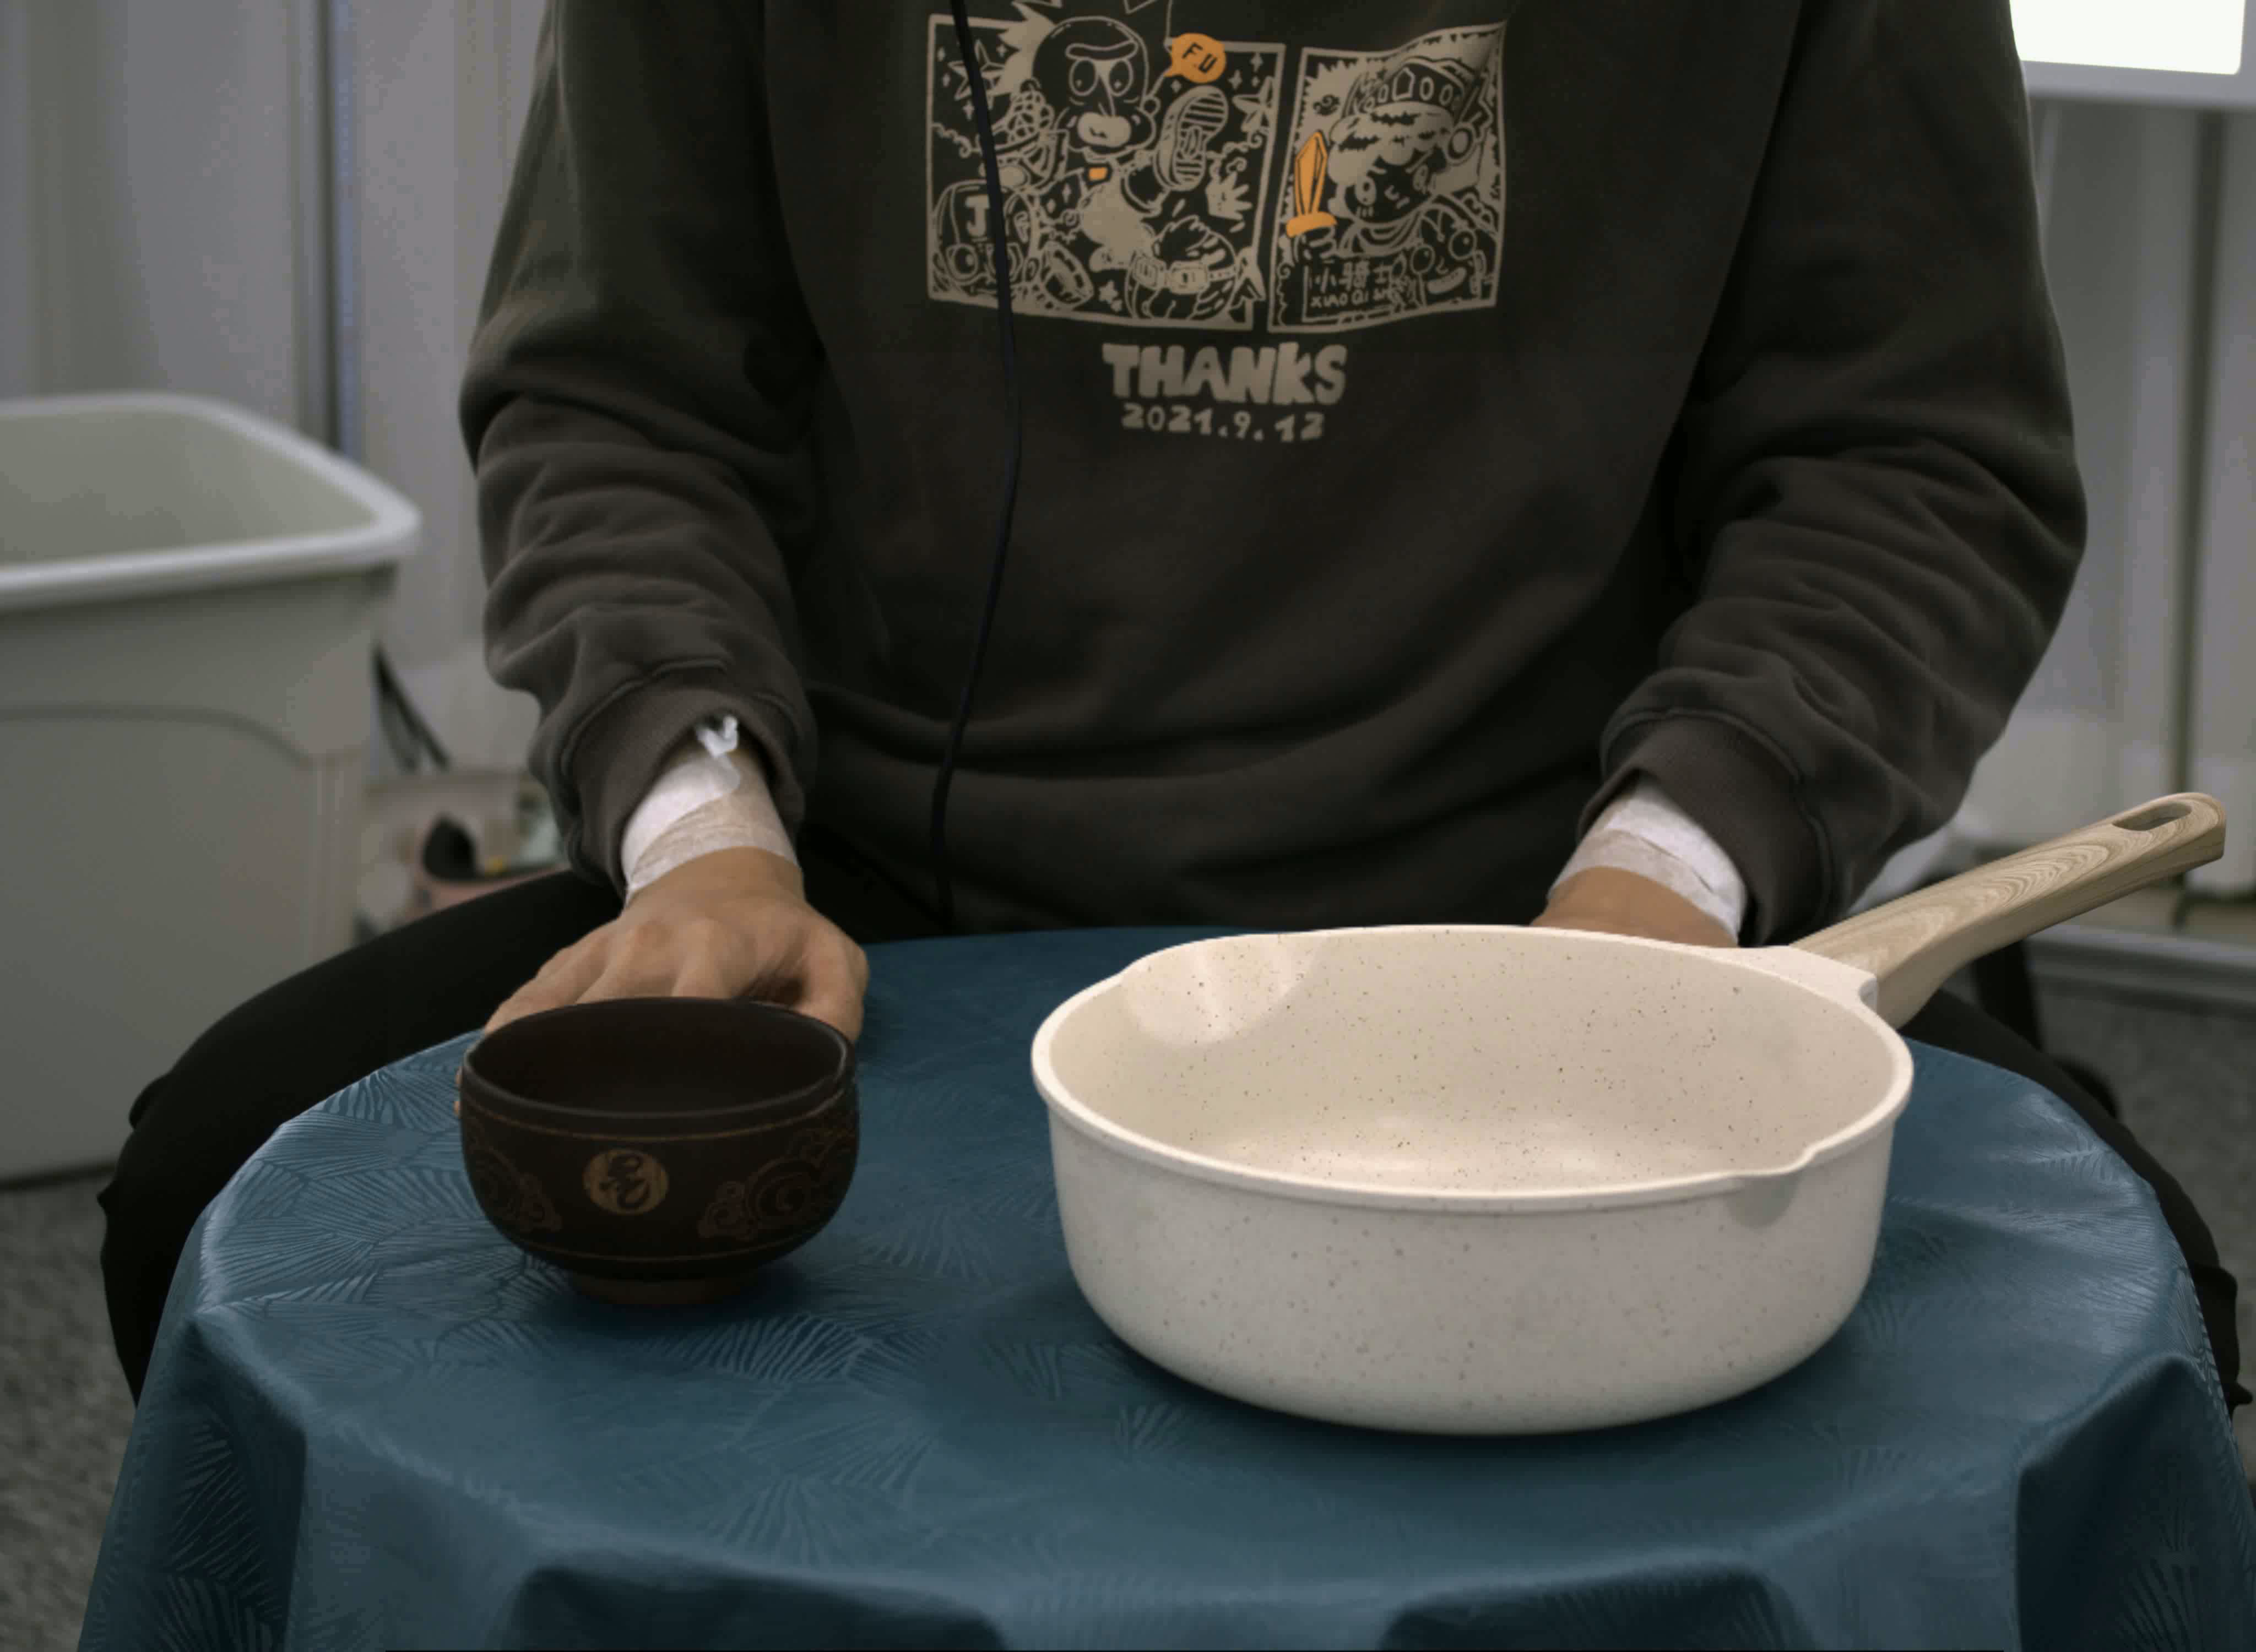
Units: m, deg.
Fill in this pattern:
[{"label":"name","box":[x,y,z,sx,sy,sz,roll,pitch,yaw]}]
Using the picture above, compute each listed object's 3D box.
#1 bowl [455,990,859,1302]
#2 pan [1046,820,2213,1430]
[{"label":"bowl","box":[-0.137,0.097,1.544,0.117,0.070,0.117,0,16,1]},{"label":"pan","box":[0.174,0.081,1.565,0.437,0.103,0.260,-11,17,-37]}]
